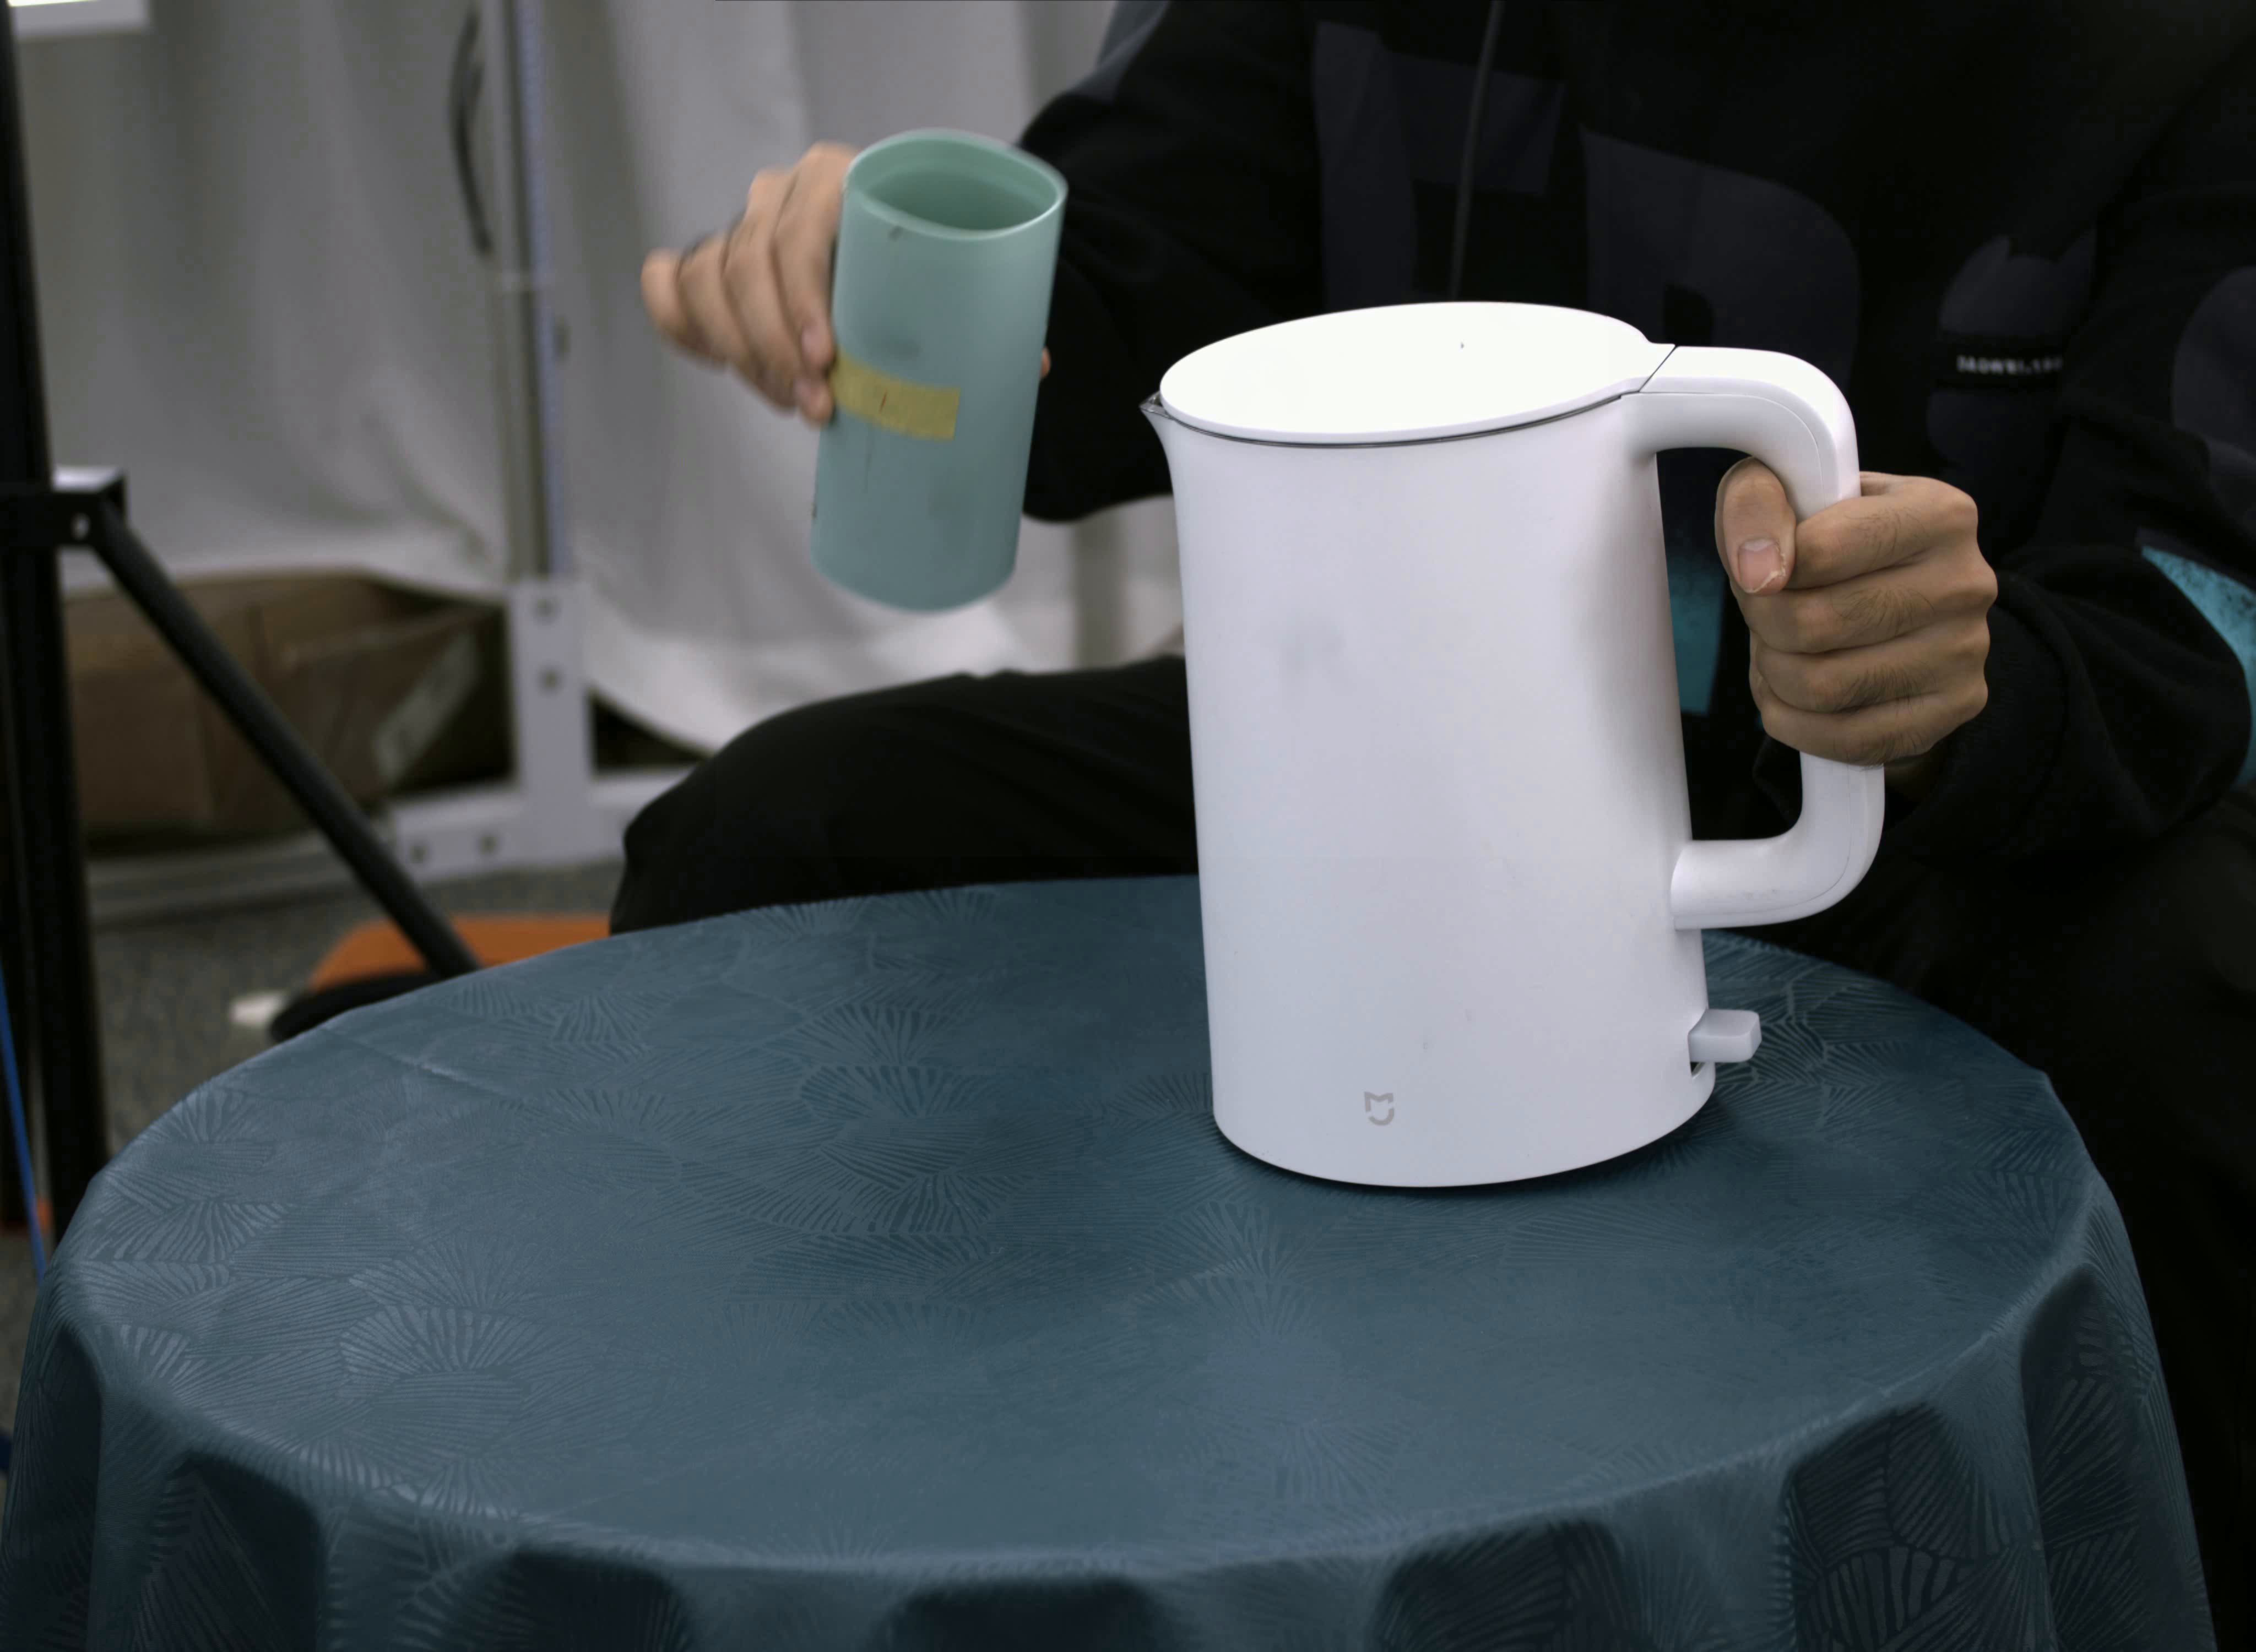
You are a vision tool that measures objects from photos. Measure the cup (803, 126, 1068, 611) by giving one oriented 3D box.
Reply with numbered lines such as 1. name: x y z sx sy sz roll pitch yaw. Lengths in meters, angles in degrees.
1. cup: -0.058 -0.138 1.613 0.066 0.132 0.067 6 33 -5

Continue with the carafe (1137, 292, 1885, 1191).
1. carafe: 0.115 -0.026 1.561 0.216 0.239 0.150 0 20 22
